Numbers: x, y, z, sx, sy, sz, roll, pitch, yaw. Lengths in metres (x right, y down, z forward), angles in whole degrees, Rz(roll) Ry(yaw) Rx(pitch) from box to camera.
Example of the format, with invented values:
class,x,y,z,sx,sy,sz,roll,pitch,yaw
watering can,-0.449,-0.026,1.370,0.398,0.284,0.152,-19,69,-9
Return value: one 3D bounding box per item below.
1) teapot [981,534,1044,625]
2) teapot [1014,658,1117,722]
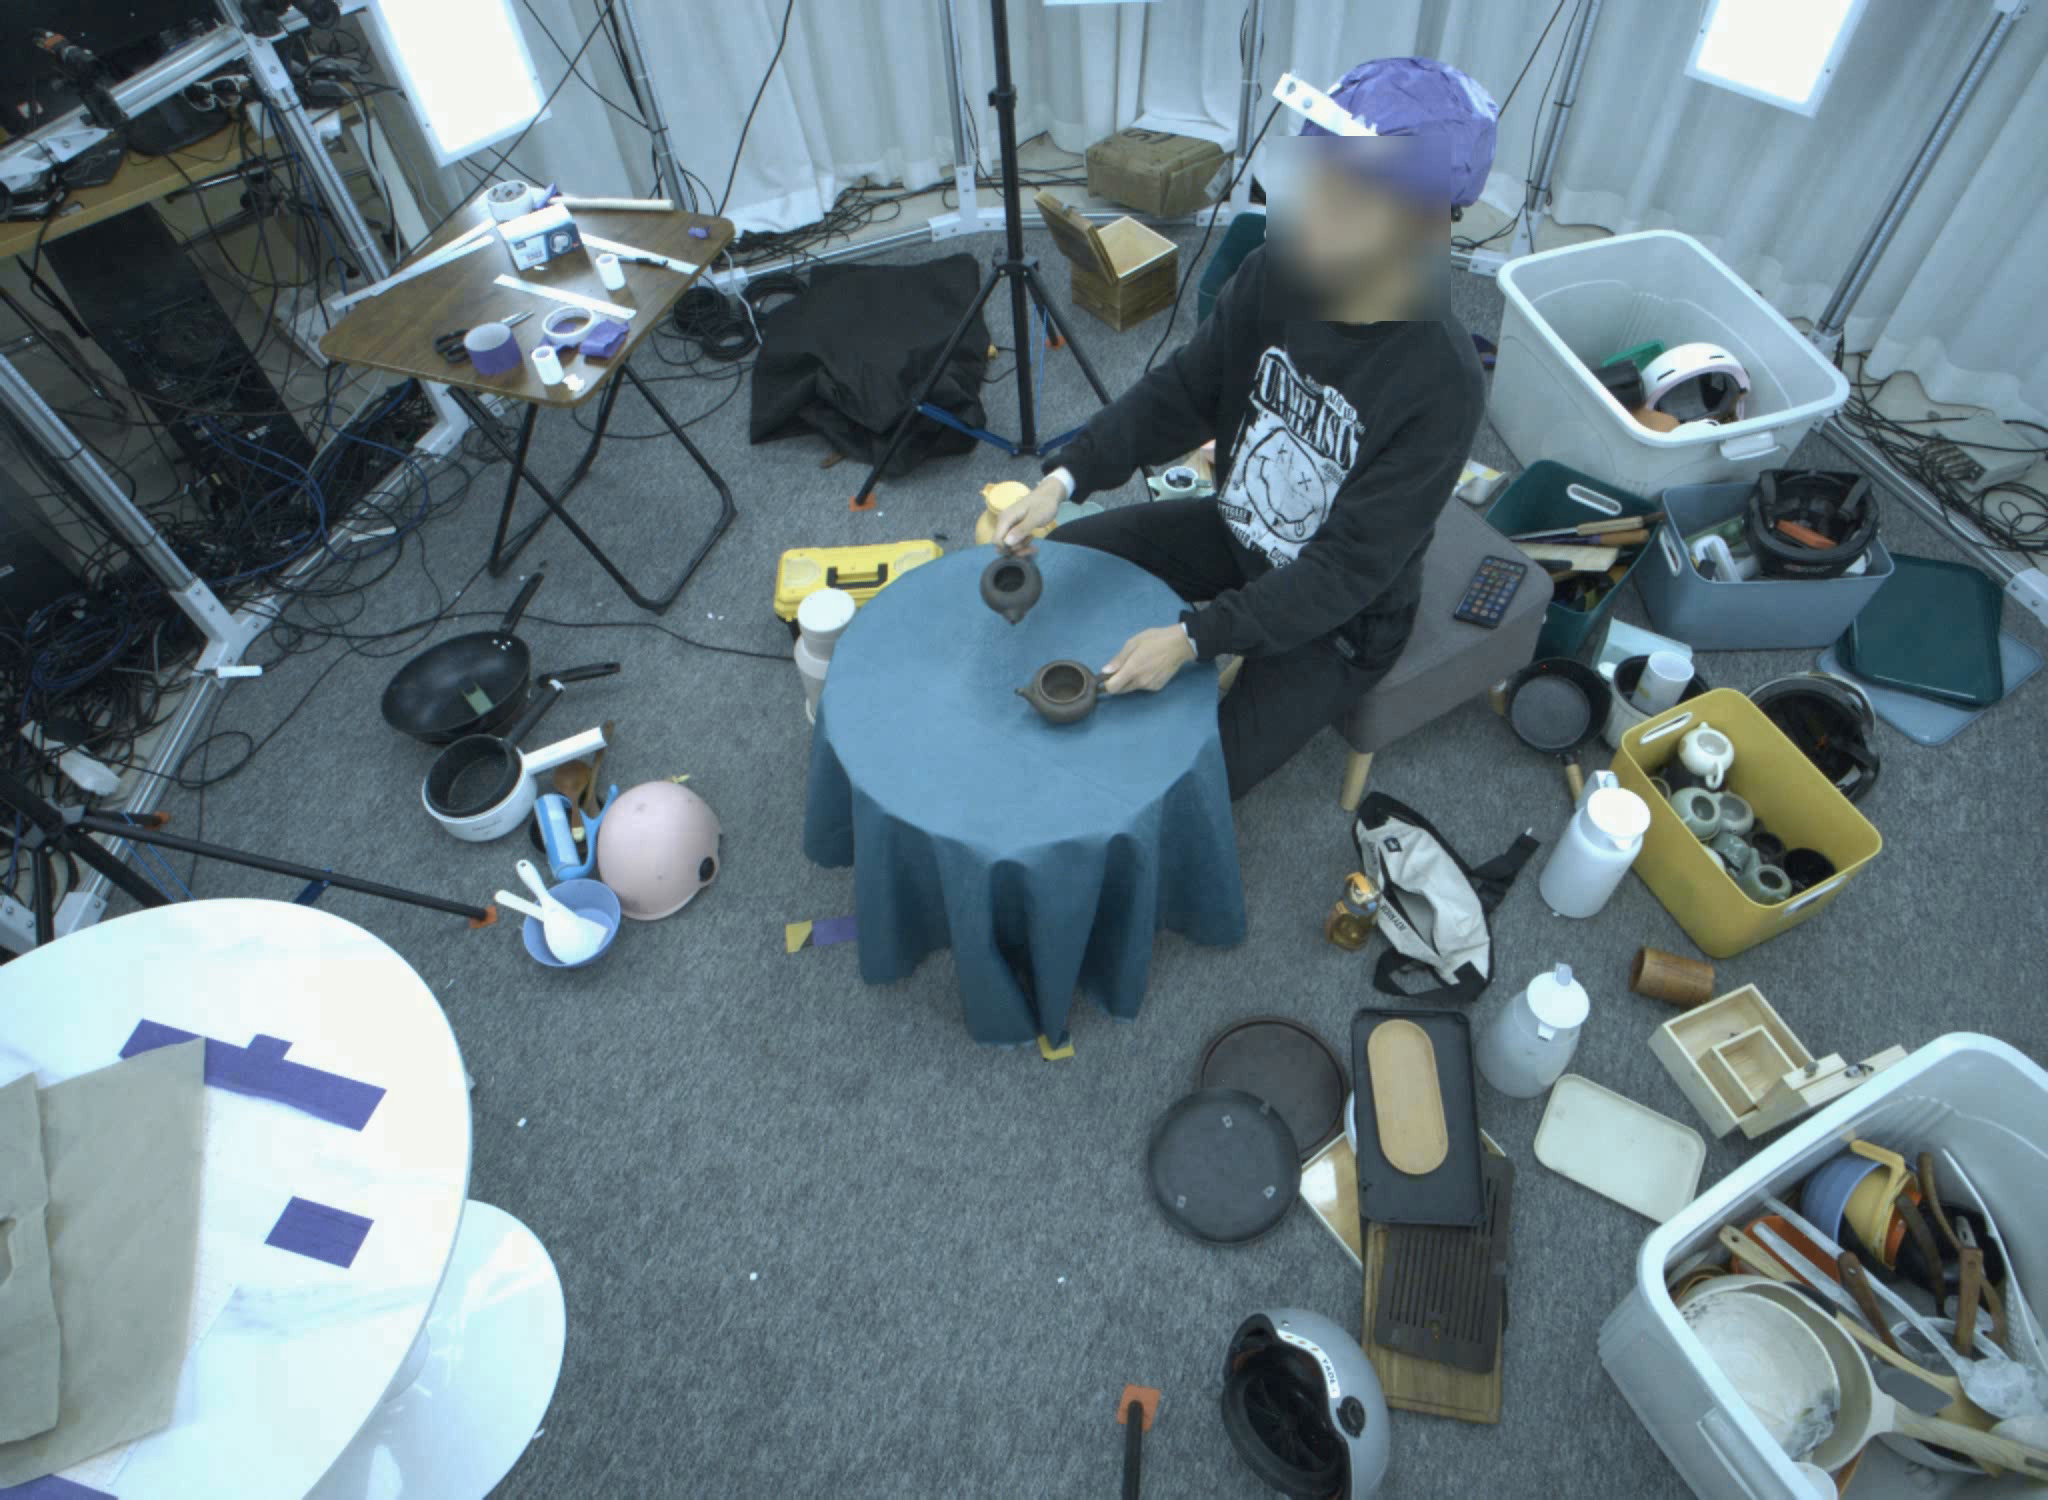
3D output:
class,x,y,z,sx,sy,sz,roll,pitch,yaw
teapot,-0.017,-0.244,1.795,0.092,0.065,0.153,-5,71,1
teapot,0.062,-0.090,1.808,0.154,0.054,0.101,-16,64,-5
